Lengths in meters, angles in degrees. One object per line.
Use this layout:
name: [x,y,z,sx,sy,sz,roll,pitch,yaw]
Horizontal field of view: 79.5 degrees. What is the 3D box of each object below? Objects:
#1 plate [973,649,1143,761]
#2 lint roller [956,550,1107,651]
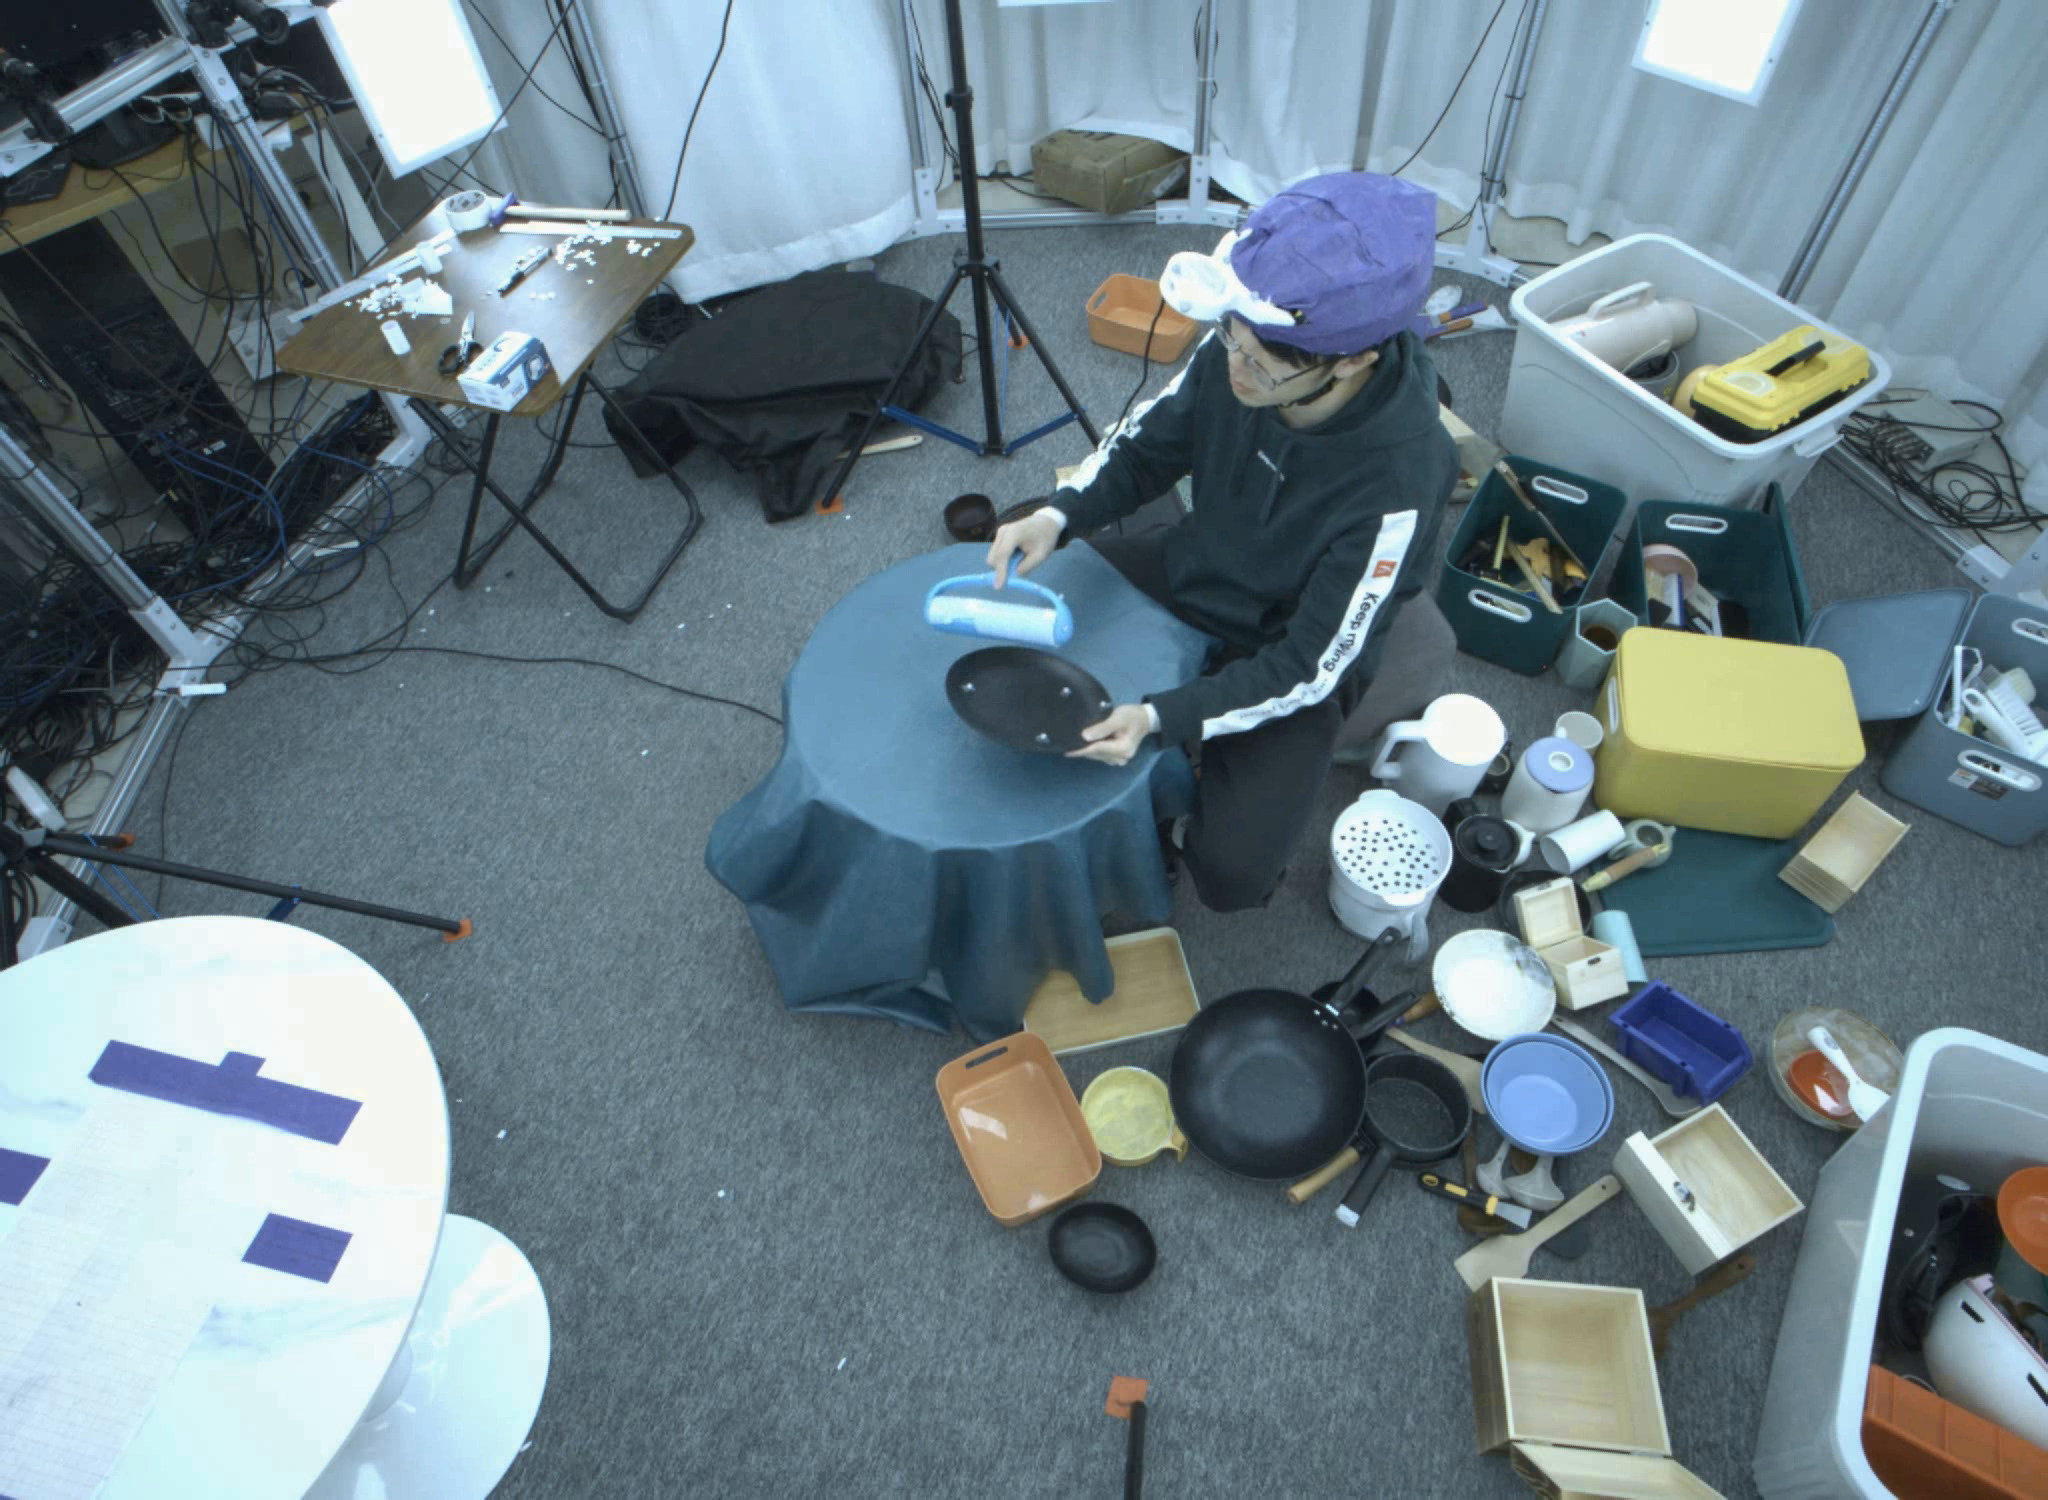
plate: [0.047,-0.061,1.723,0.246,0.023,0.242,11,39,-8]
lint roller: [0.024,-0.230,1.756,0.225,0.069,0.179,7,64,20]
